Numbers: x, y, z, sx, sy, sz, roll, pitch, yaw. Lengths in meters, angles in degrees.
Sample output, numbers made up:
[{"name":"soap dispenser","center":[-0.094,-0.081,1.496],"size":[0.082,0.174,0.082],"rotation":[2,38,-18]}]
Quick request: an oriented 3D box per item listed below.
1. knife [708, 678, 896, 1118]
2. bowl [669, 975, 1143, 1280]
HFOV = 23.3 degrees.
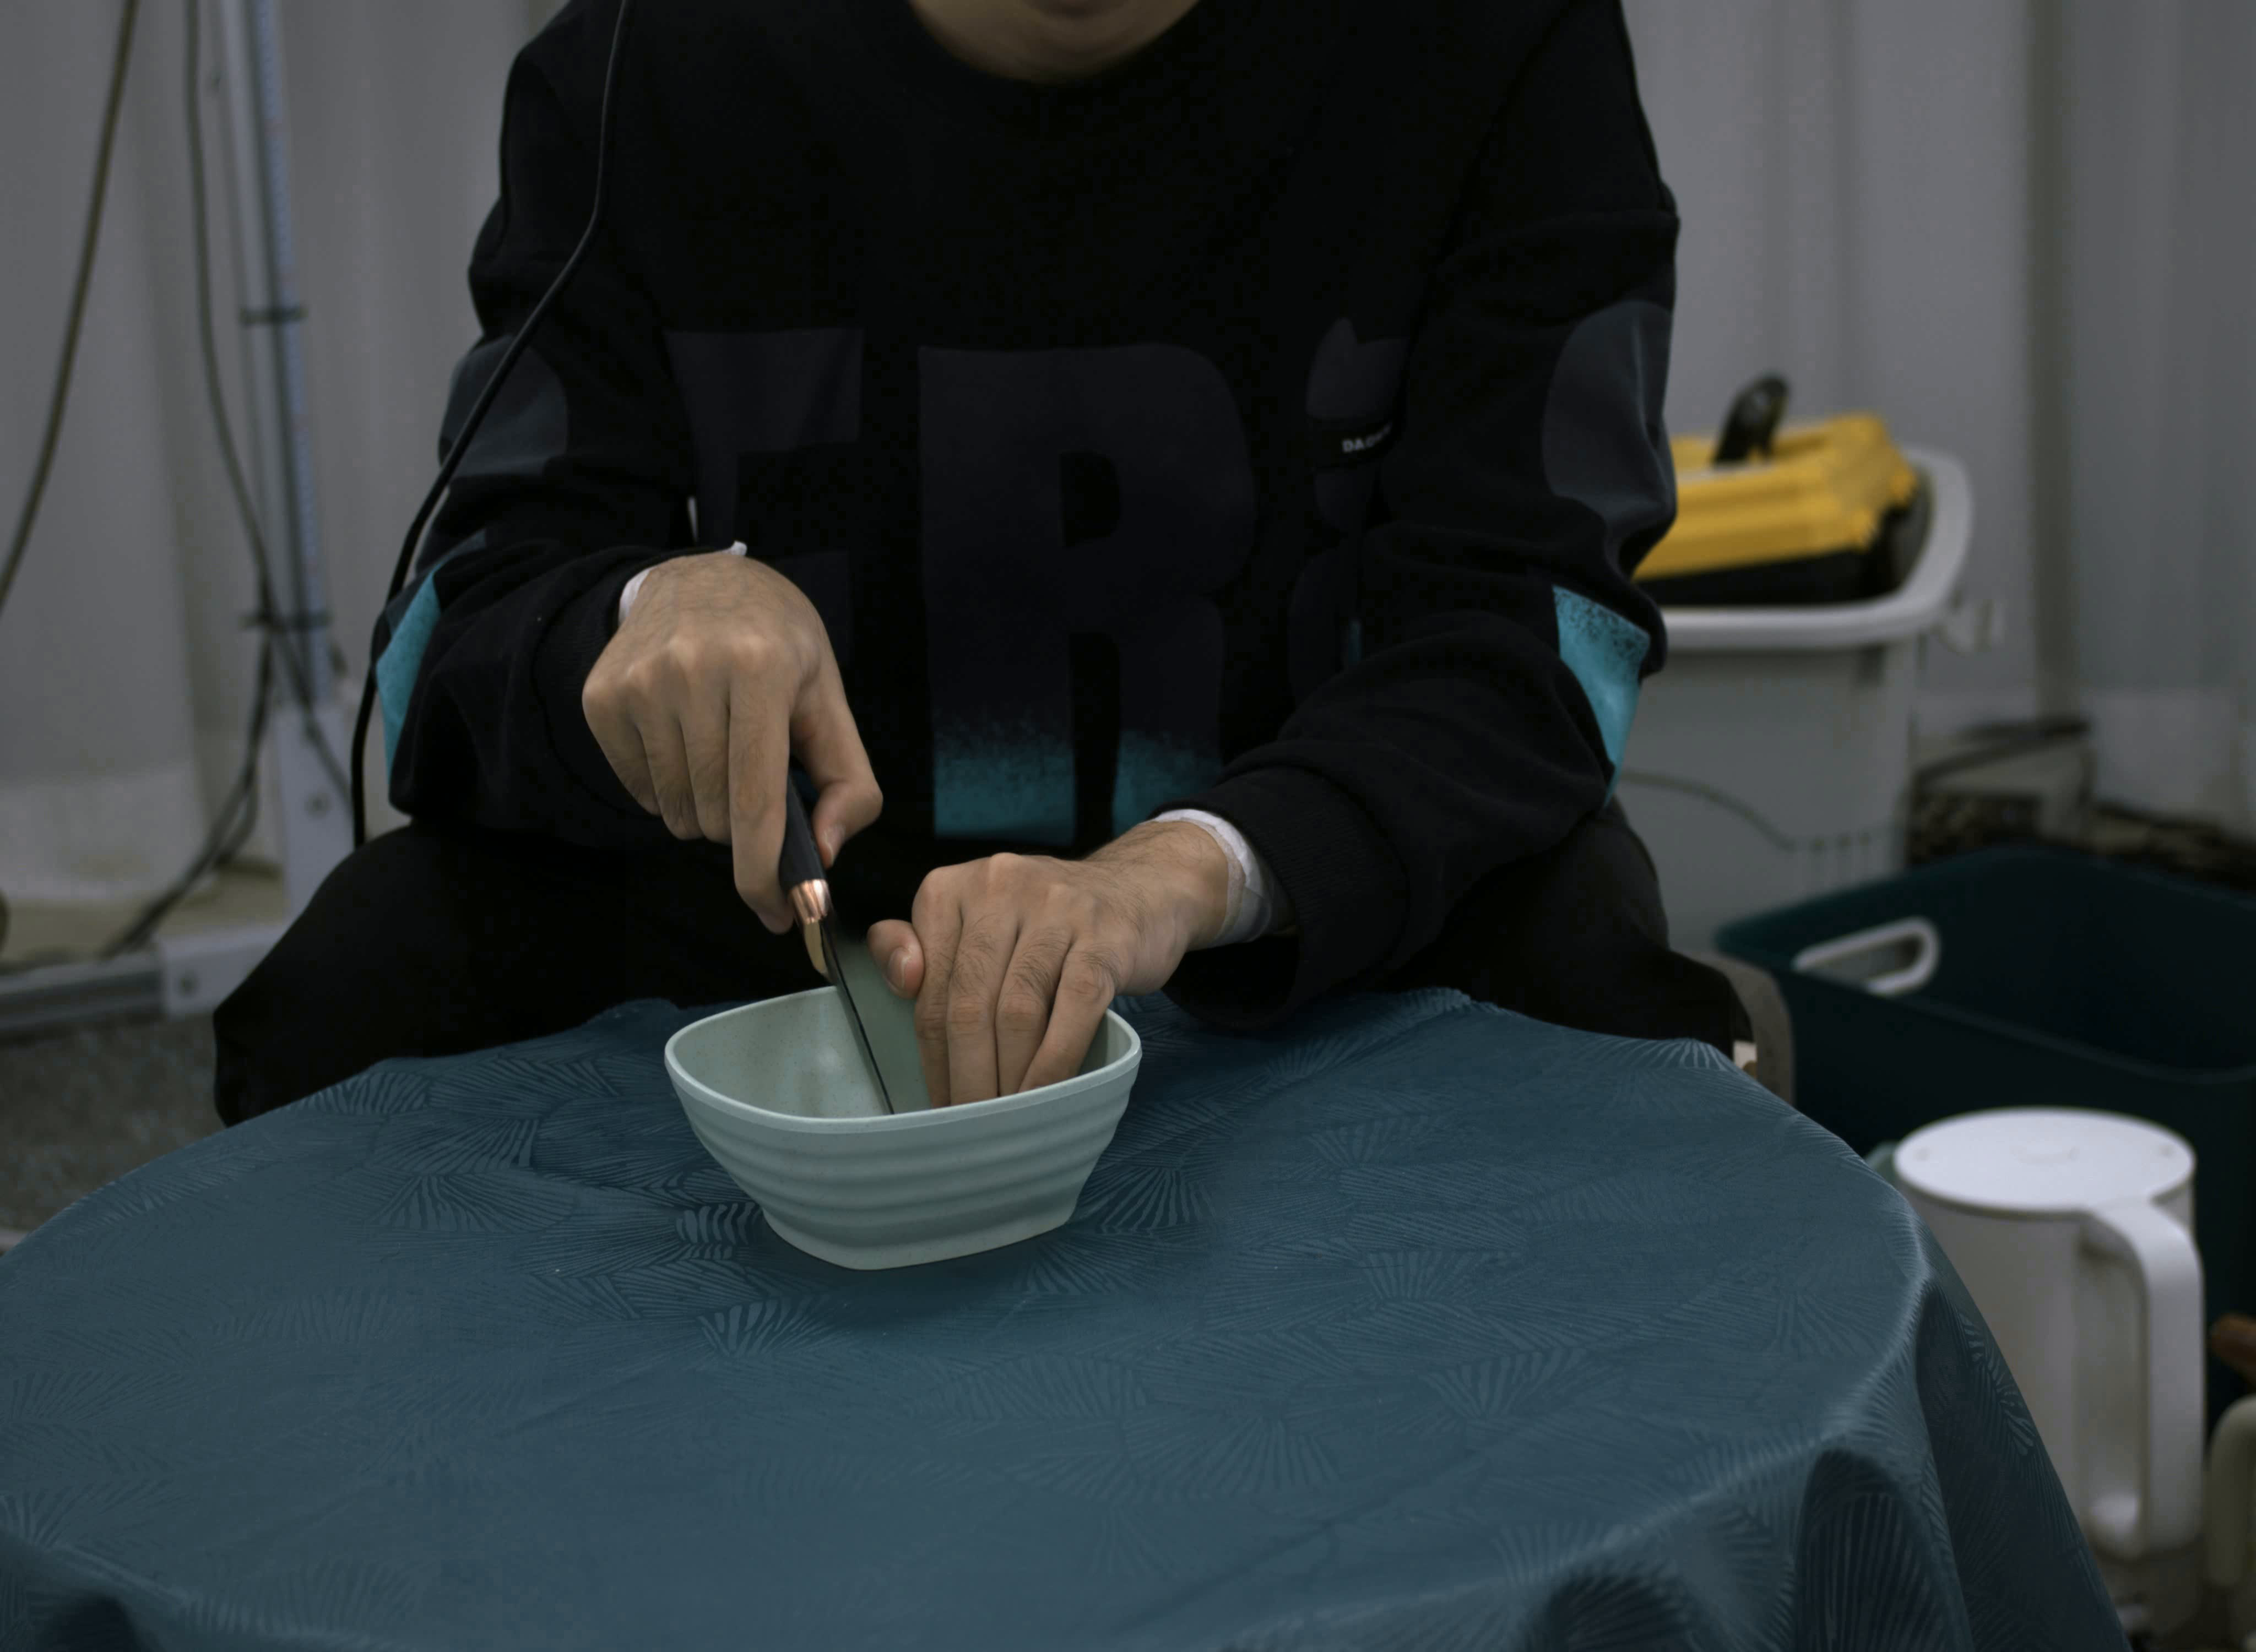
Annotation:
[{"name":"knife","center":[-0.096,0.038,1.730],"size":[0.017,0.026,0.229],"rotation":[-12,50,-14]},{"name":"bowl","center":[-0.067,0.097,1.694],"size":[0.151,0.058,0.152],"rotation":[-4,15,1]}]
